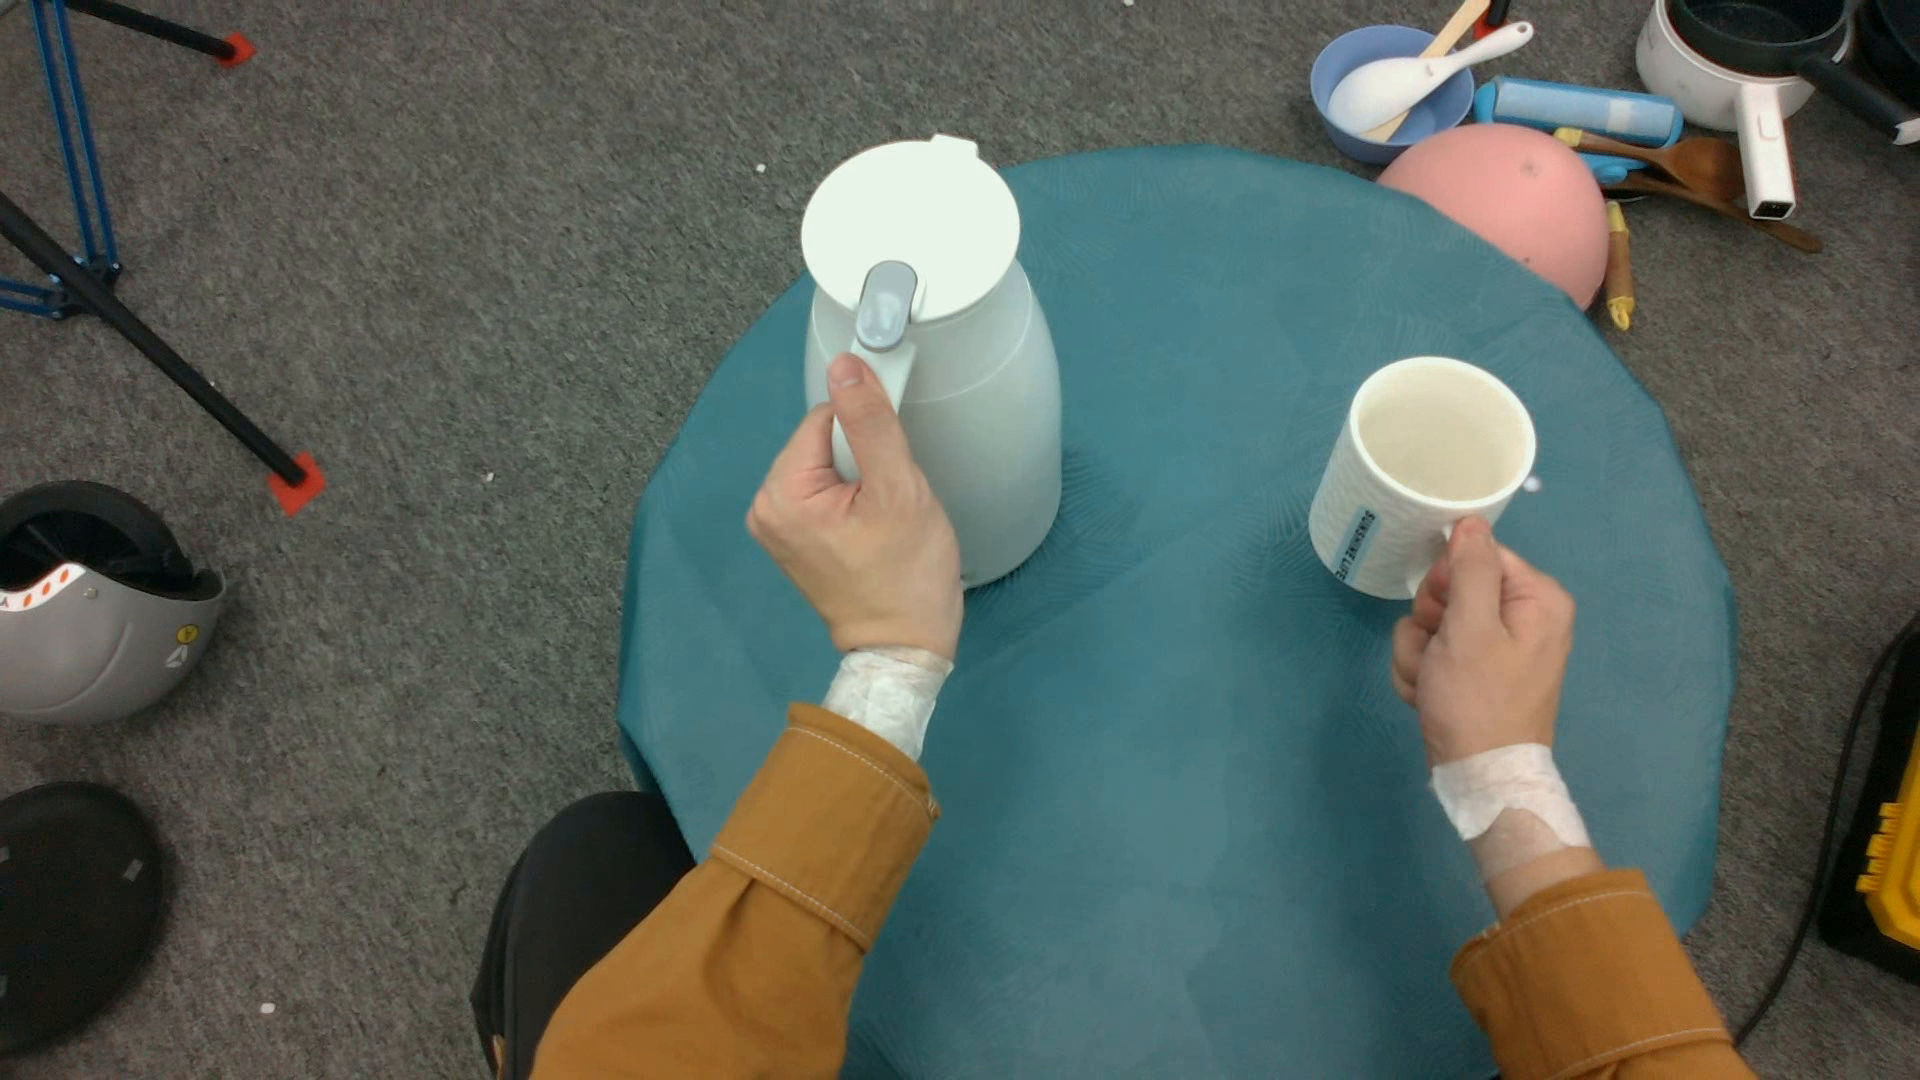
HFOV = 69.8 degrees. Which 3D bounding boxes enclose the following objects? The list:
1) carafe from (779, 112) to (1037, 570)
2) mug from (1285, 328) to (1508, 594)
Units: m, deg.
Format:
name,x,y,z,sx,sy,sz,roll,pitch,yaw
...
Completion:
name,x,y,z,sx,sy,sz,roll,pitch,yaw
carafe,-0.030,-0.075,0.668,0.132,0.248,0.168,13,68,6
mug,0.218,-0.028,0.685,0.085,0.101,0.118,-8,61,-6
